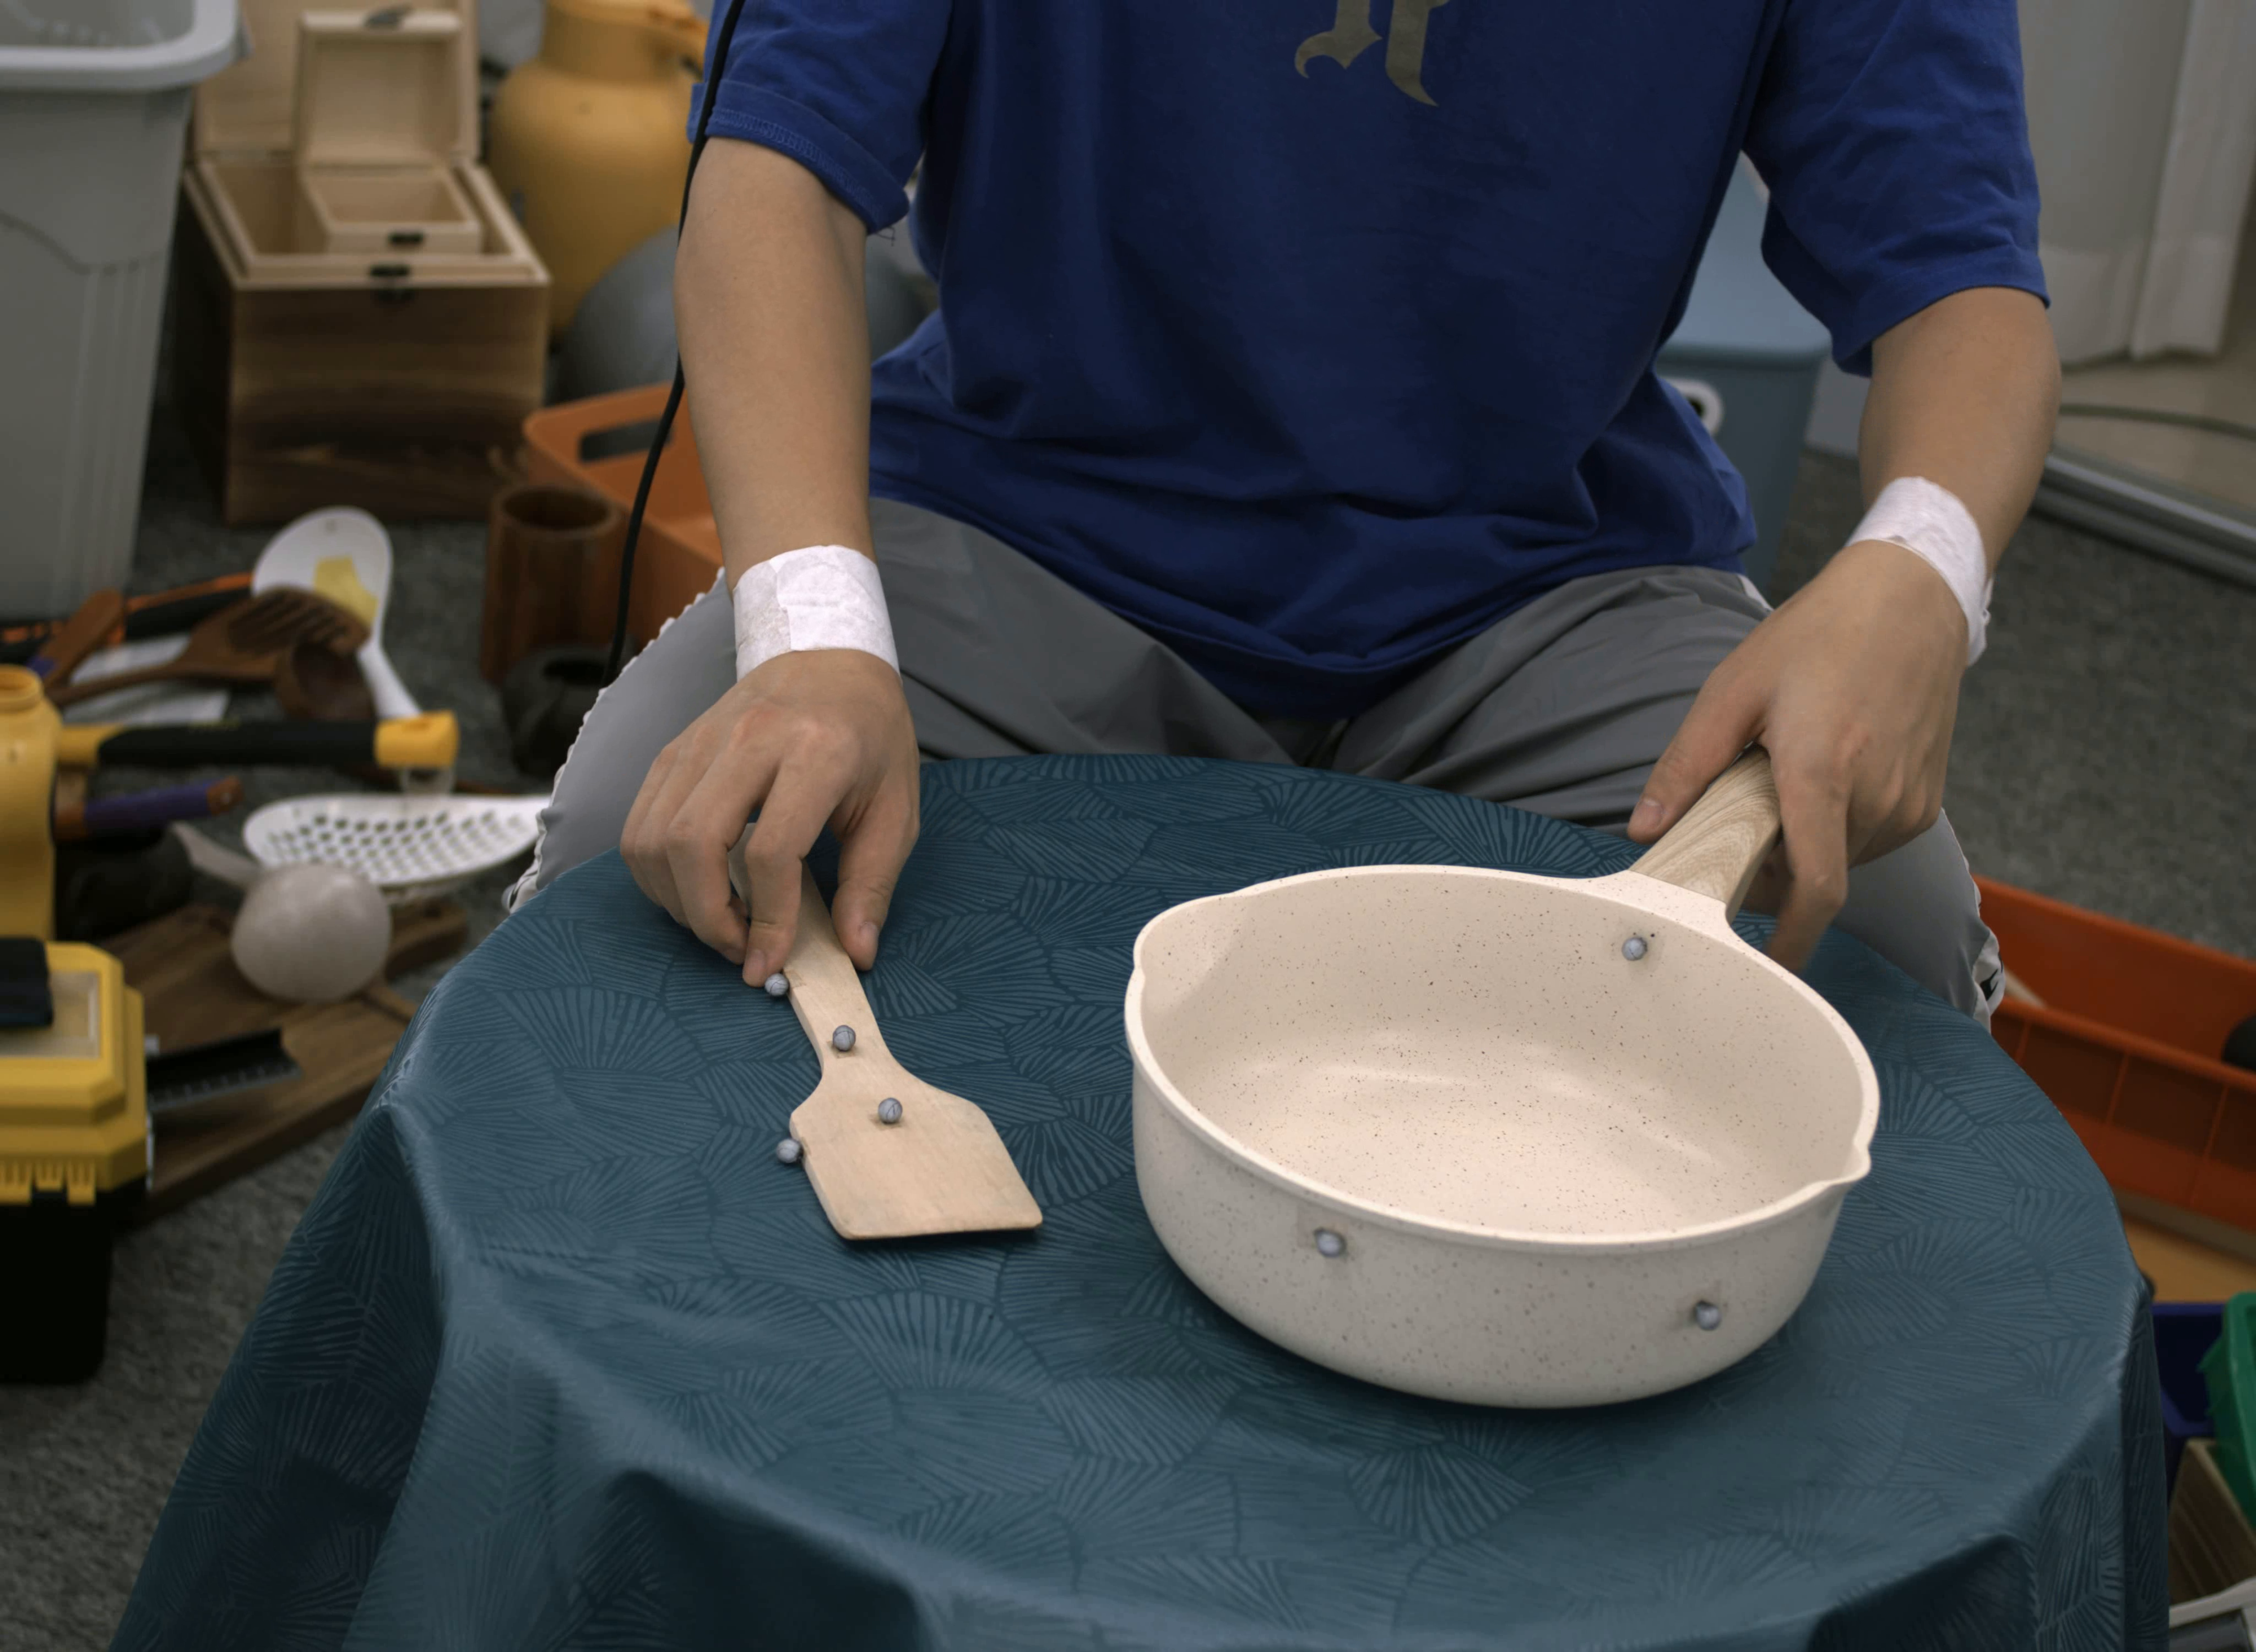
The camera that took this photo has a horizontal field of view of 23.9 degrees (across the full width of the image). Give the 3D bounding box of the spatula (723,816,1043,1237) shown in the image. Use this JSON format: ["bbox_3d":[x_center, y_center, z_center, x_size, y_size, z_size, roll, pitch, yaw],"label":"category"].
[{"bbox_3d":[-0.101,0.067,1.881,0.072,0.010,0.295,-3,29,-17],"label":"spatula"}]

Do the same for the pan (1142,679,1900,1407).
[{"bbox_3d":[0.168,0.068,1.841,0.264,0.101,0.434,17,28,23],"label":"pan"}]
